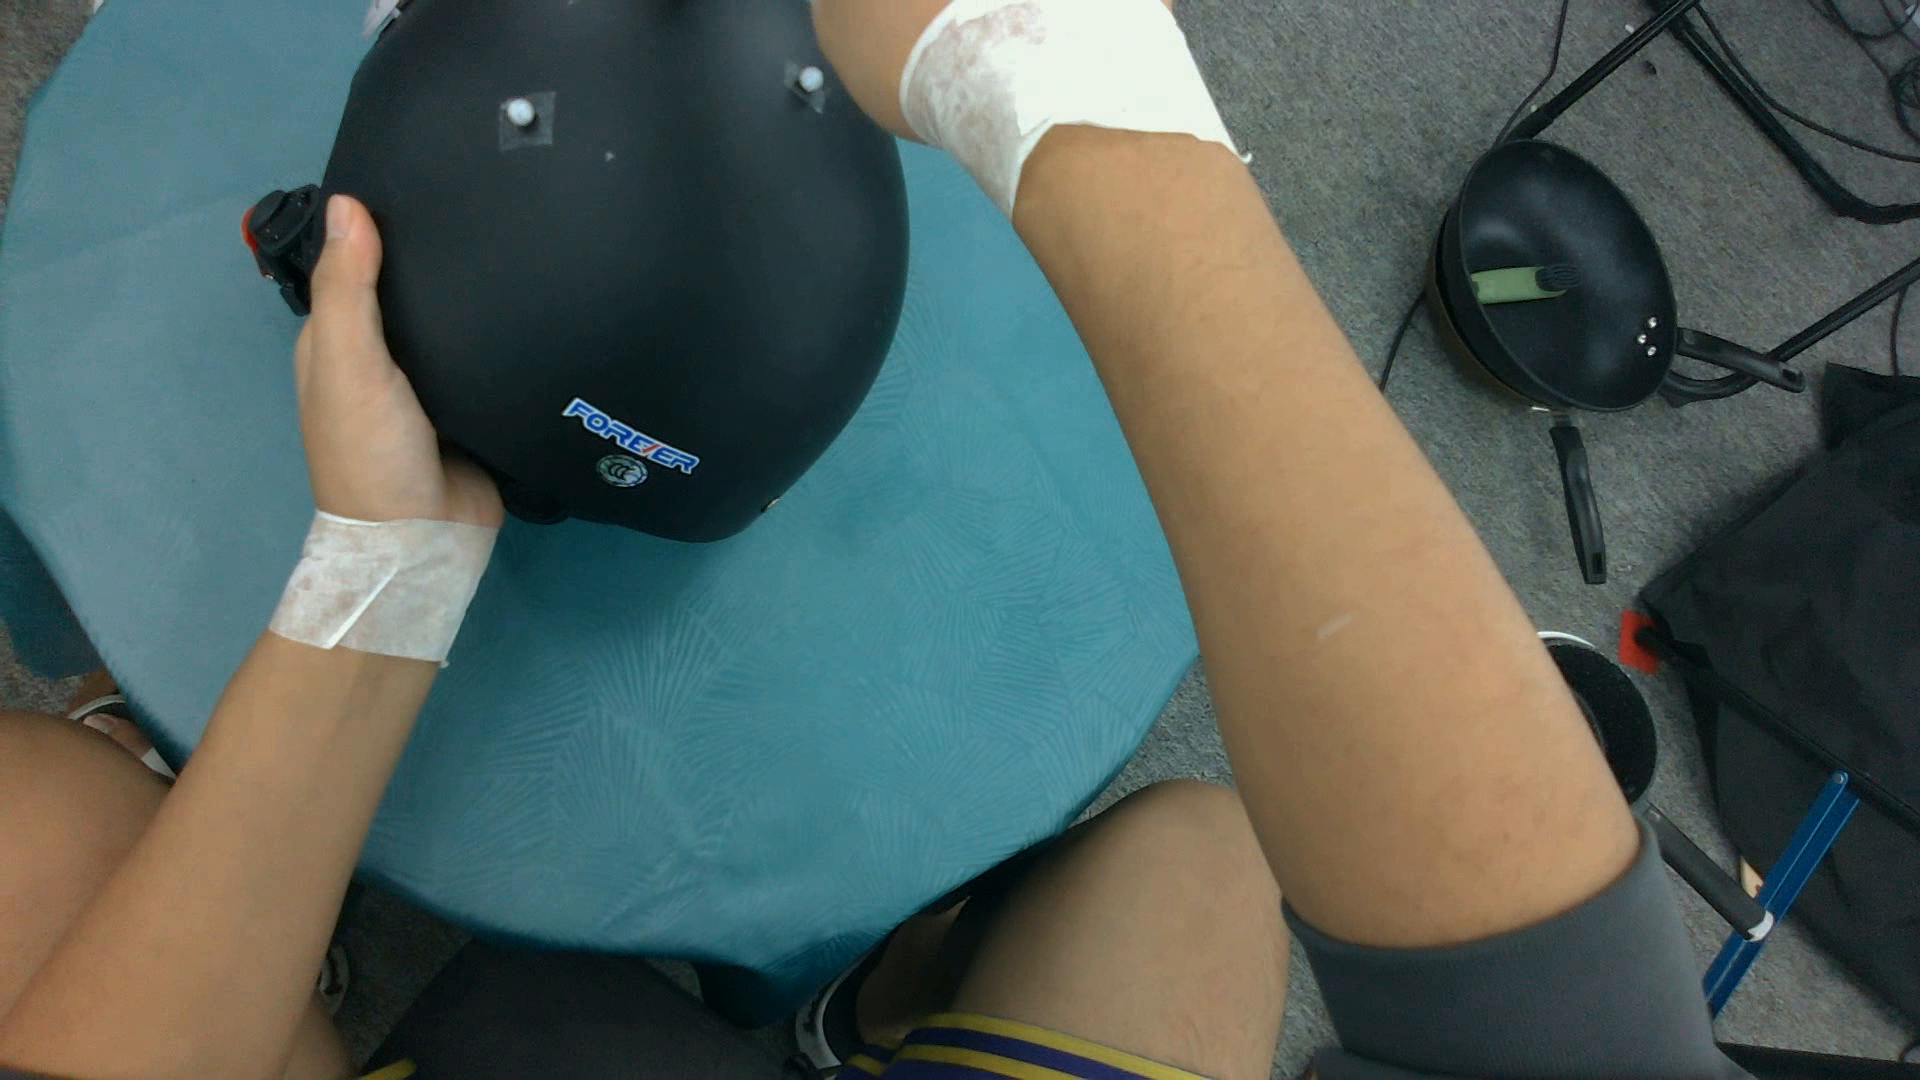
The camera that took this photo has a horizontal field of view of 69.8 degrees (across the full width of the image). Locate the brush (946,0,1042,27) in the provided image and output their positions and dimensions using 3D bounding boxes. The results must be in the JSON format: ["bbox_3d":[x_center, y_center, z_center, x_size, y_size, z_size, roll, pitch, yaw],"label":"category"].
[{"bbox_3d":[-0.059,-0.183,0.428,0.034,0.050,0.244,-18,45,-34],"label":"brush"}]

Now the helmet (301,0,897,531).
[{"bbox_3d":[-0.120,-0.147,0.549,0.230,0.166,0.274,32,43,-35],"label":"helmet"}]
